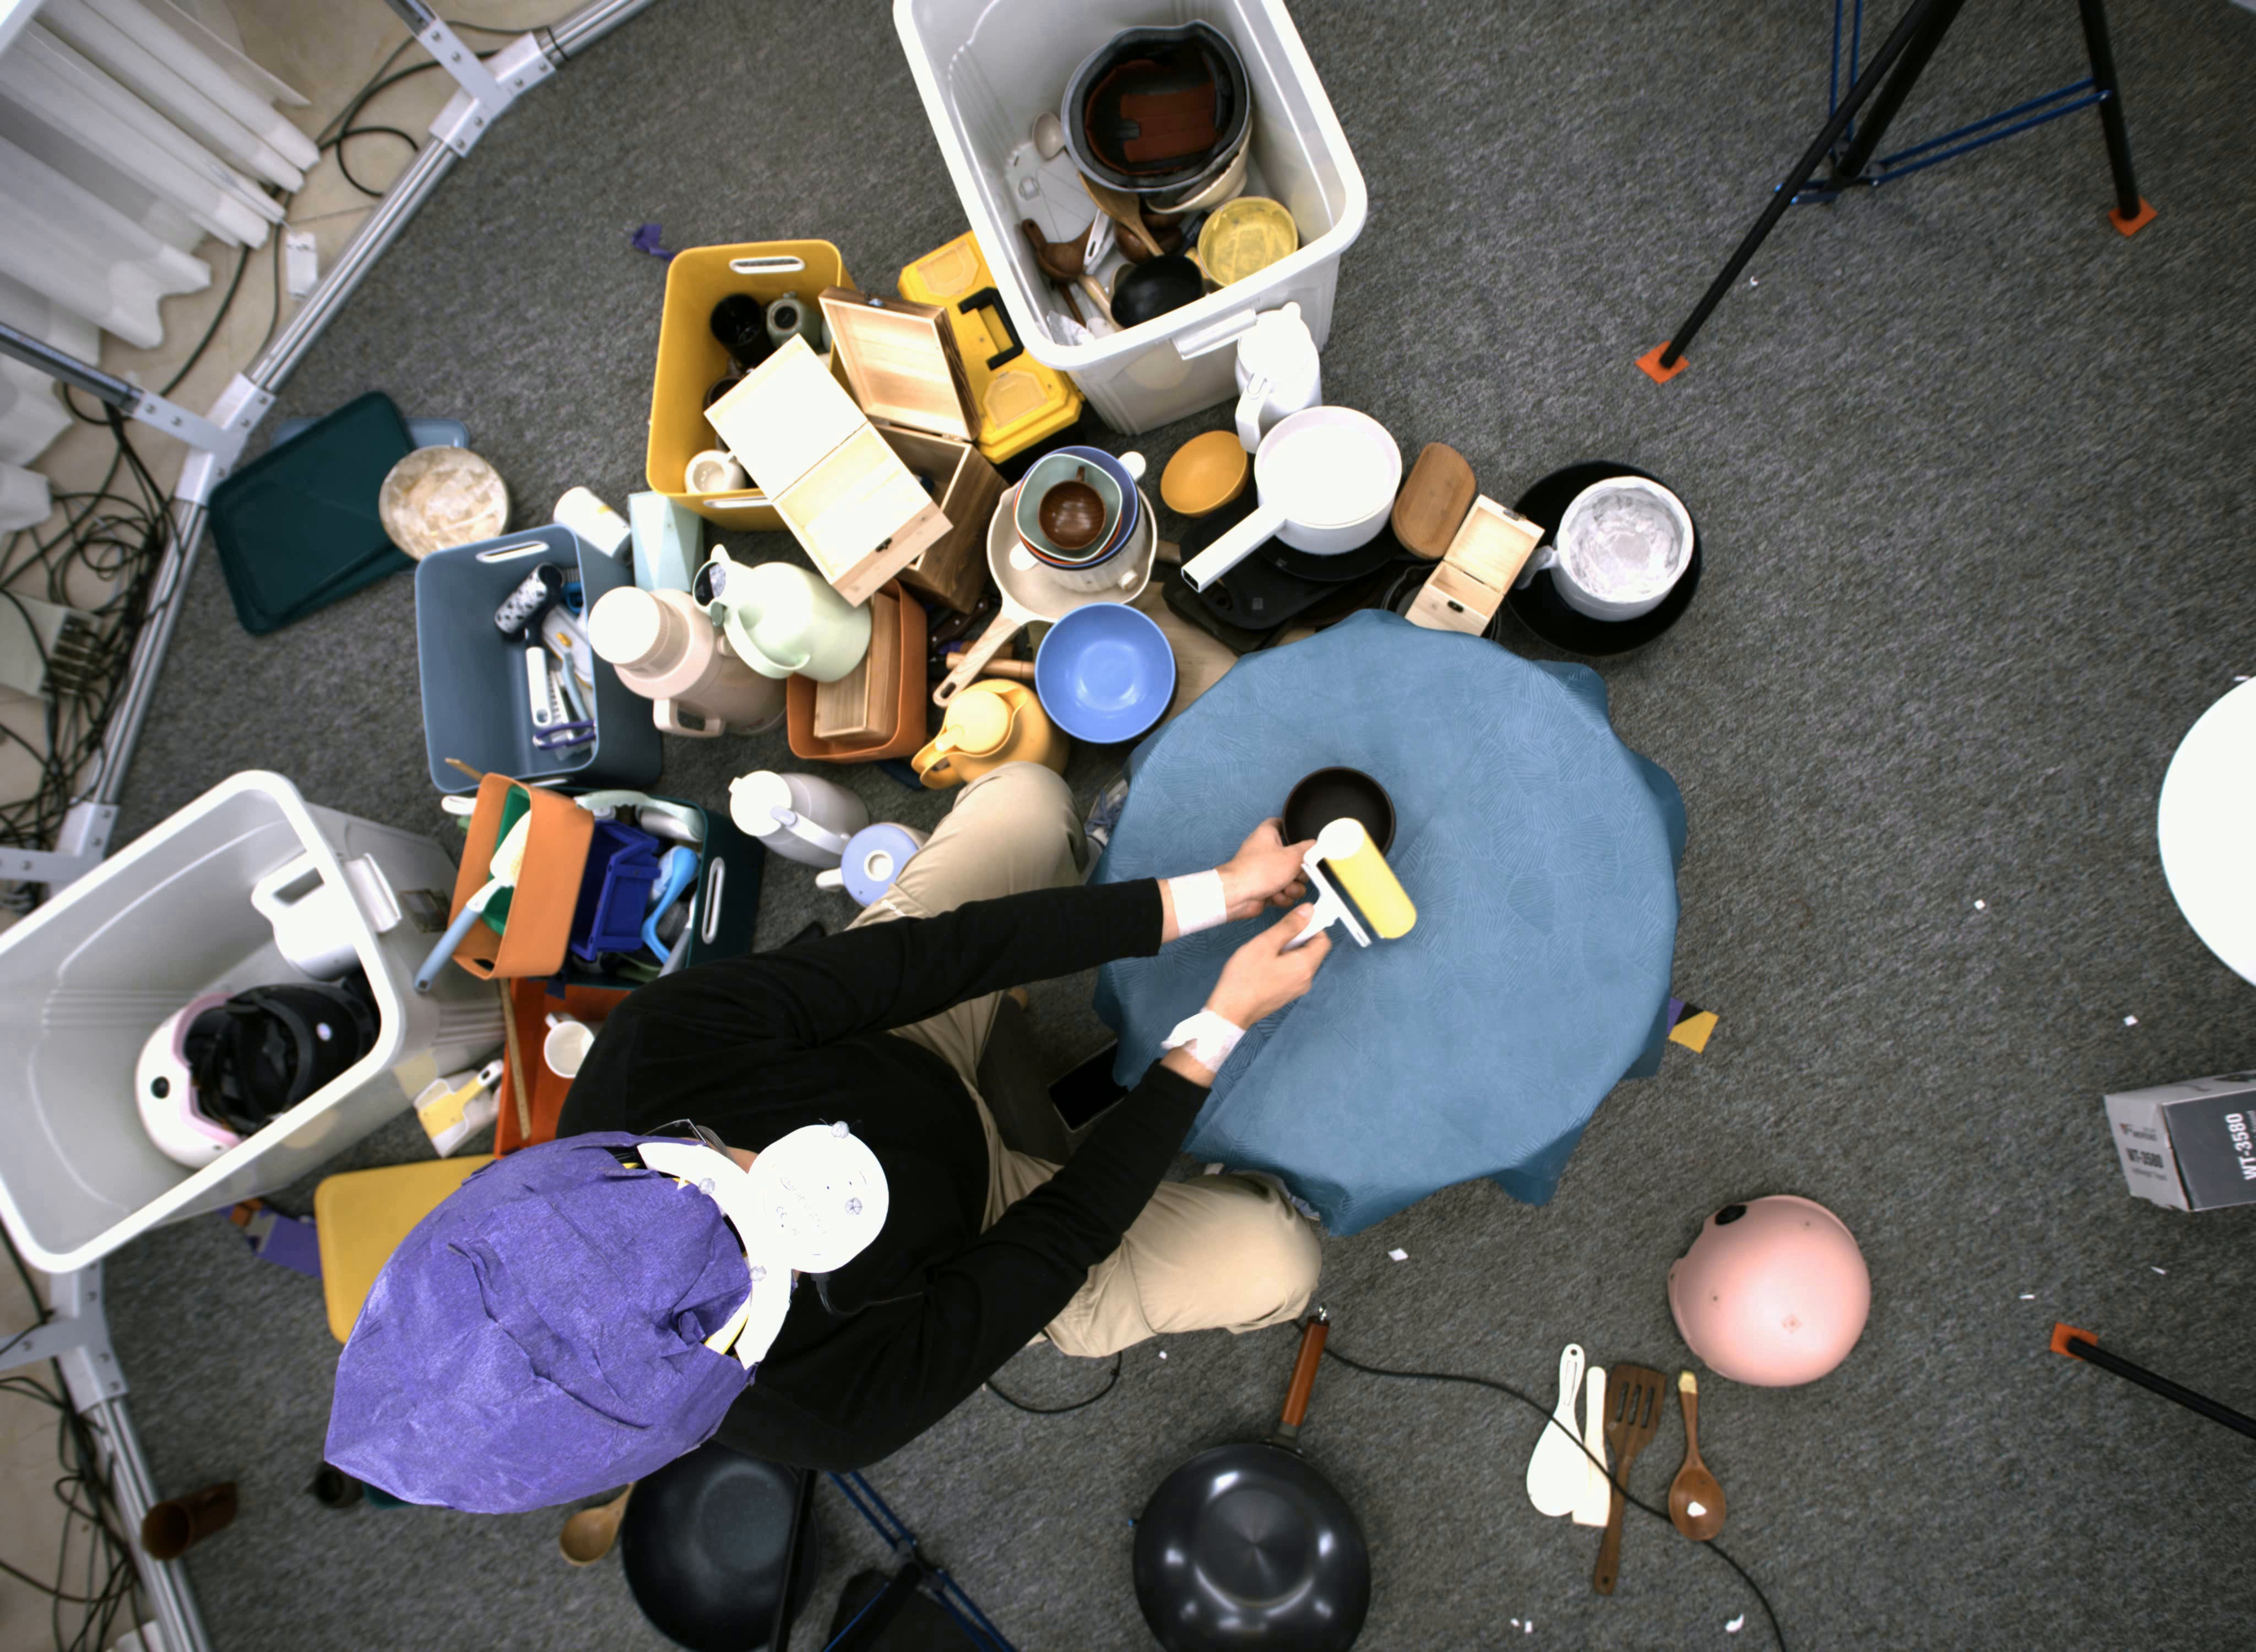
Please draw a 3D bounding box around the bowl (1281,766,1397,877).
[{"bbox_3d":[0.220,-0.001,1.435,0.118,0.070,0.117,-1,85,13],"label":"bowl"}]

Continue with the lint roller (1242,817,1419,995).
[{"bbox_3d":[0.192,0.103,1.376,0.192,0.176,0.051,-48,47,-2],"label":"lint roller"}]
